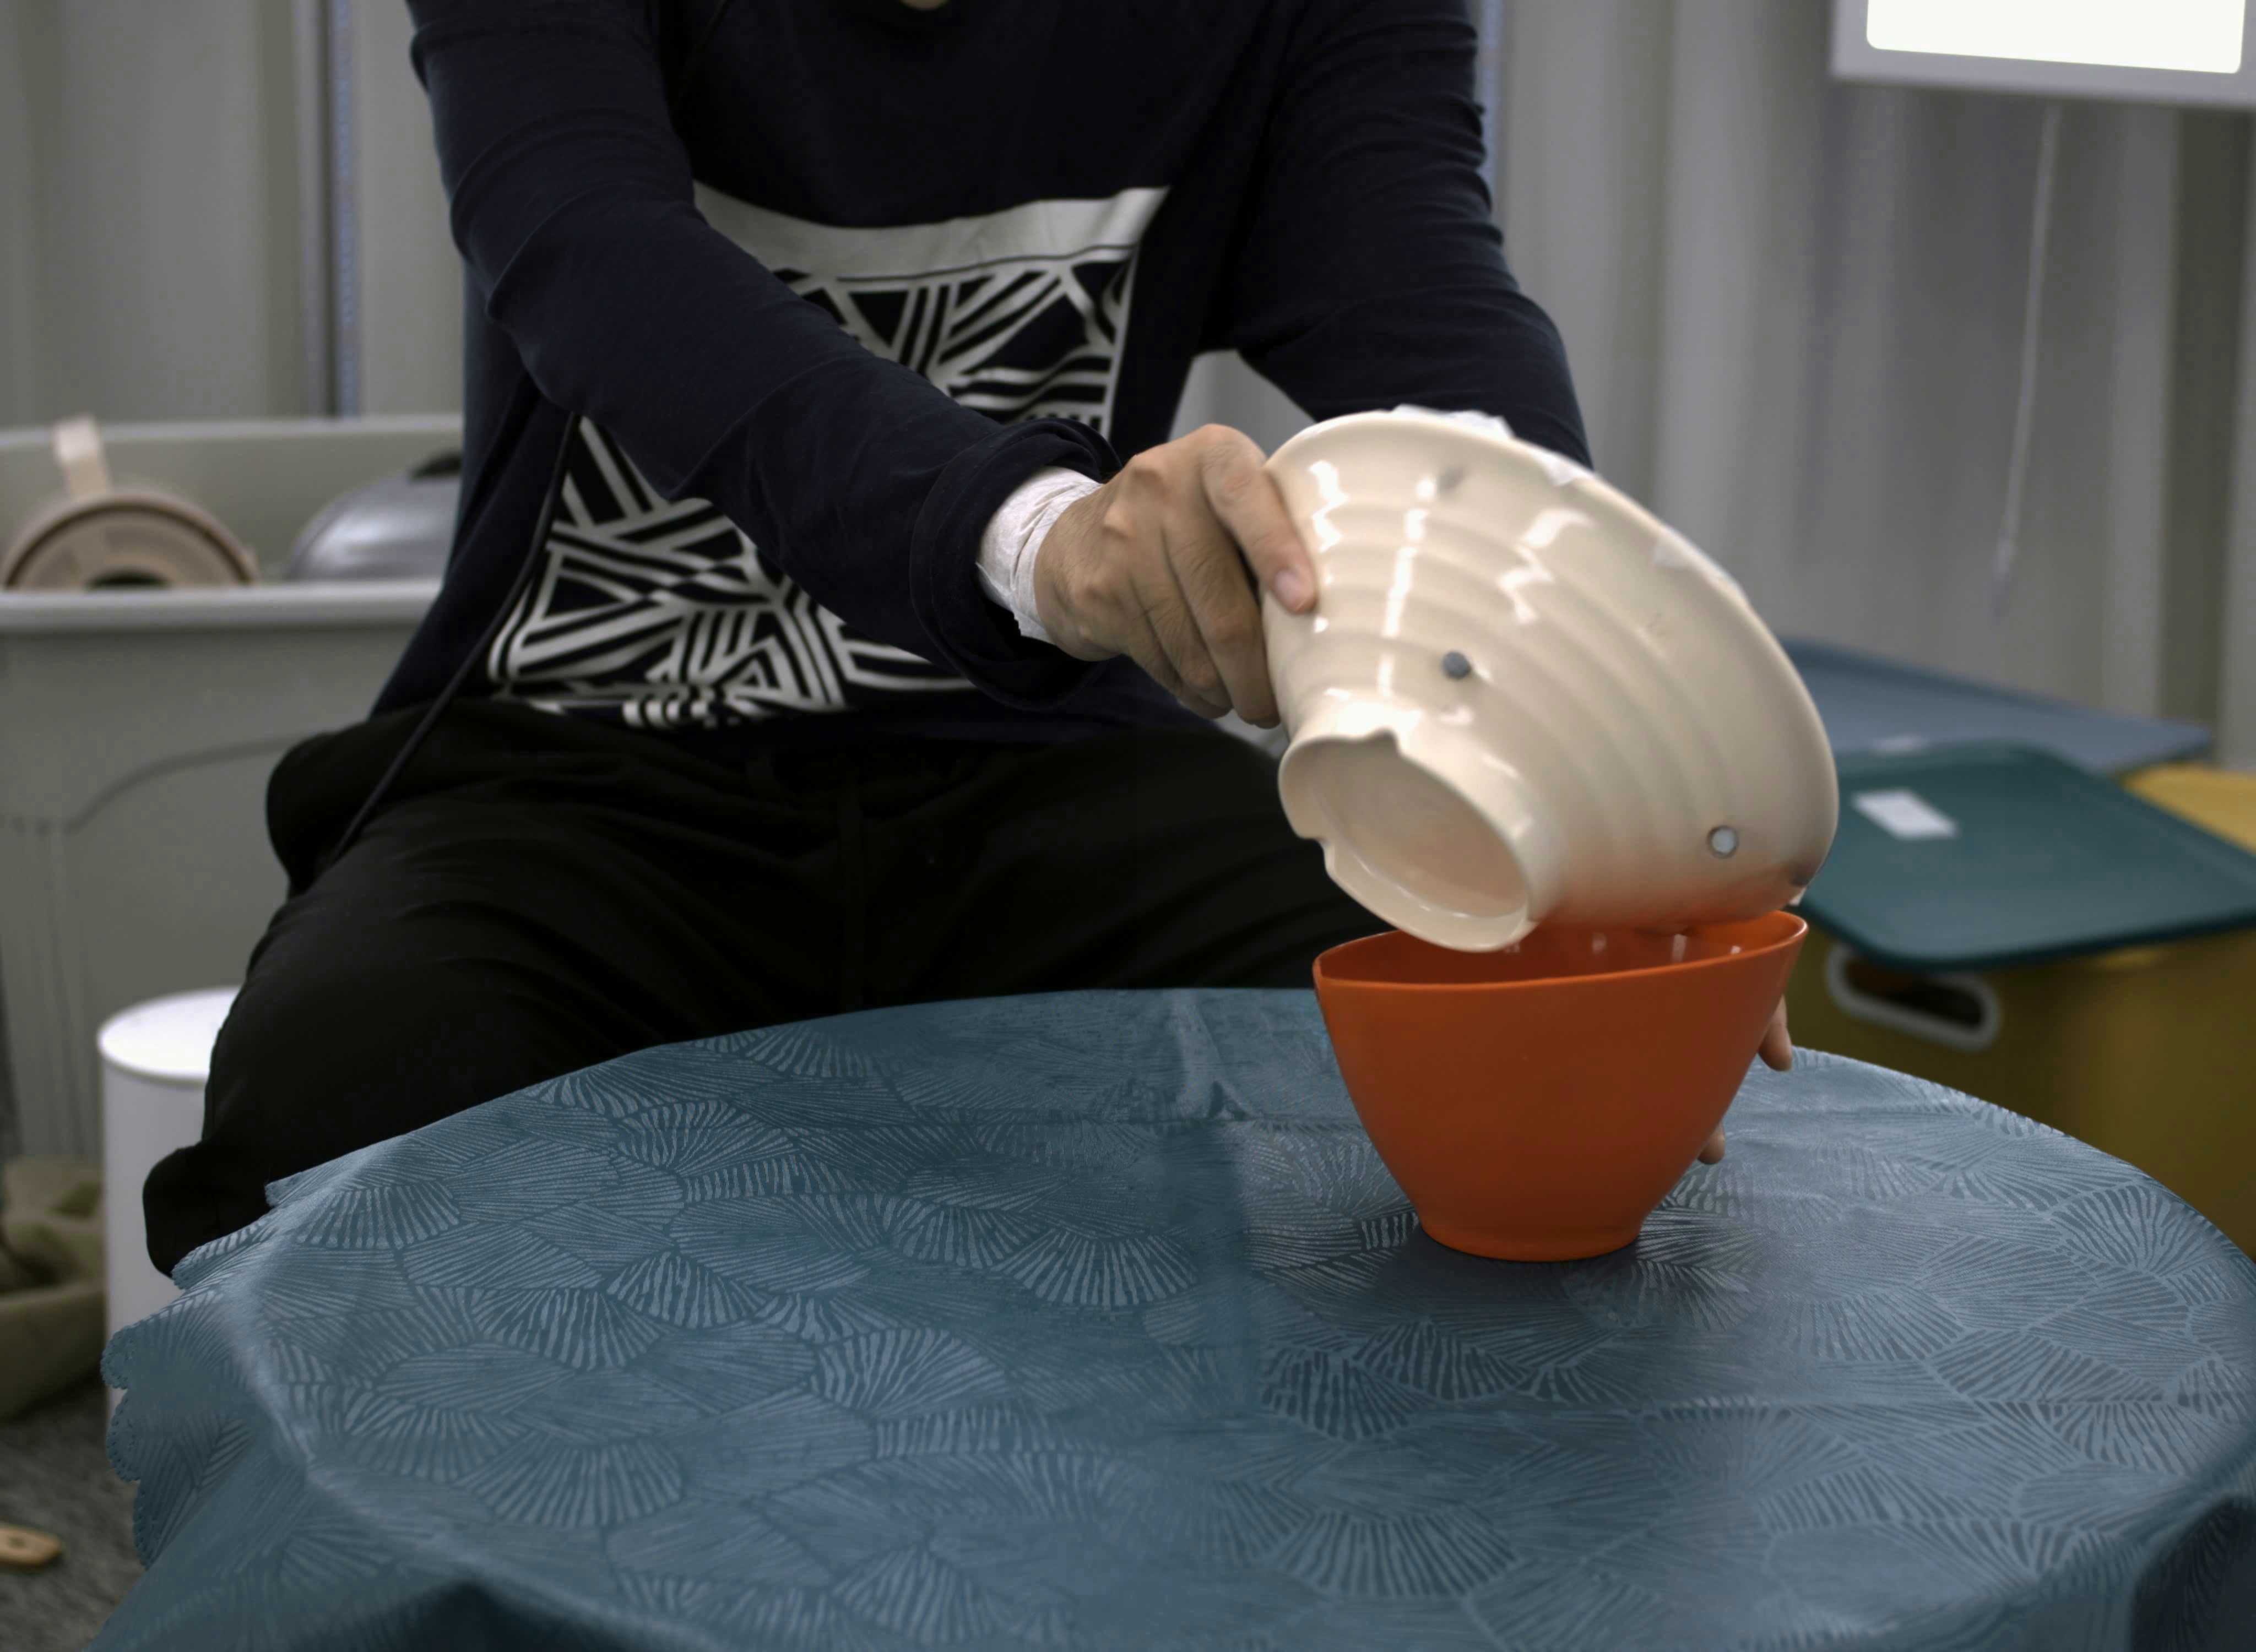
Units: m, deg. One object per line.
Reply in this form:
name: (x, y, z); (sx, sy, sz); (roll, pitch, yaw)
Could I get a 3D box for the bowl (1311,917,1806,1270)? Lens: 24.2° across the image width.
bowl: (0.127, 0.076, 1.573); (0.147, 0.105, 0.147); (0, 13, 1)

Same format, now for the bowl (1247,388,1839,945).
bowl: (0.101, -0.023, 1.532); (0.201, 0.207, 0.078); (13, 49, 36)
